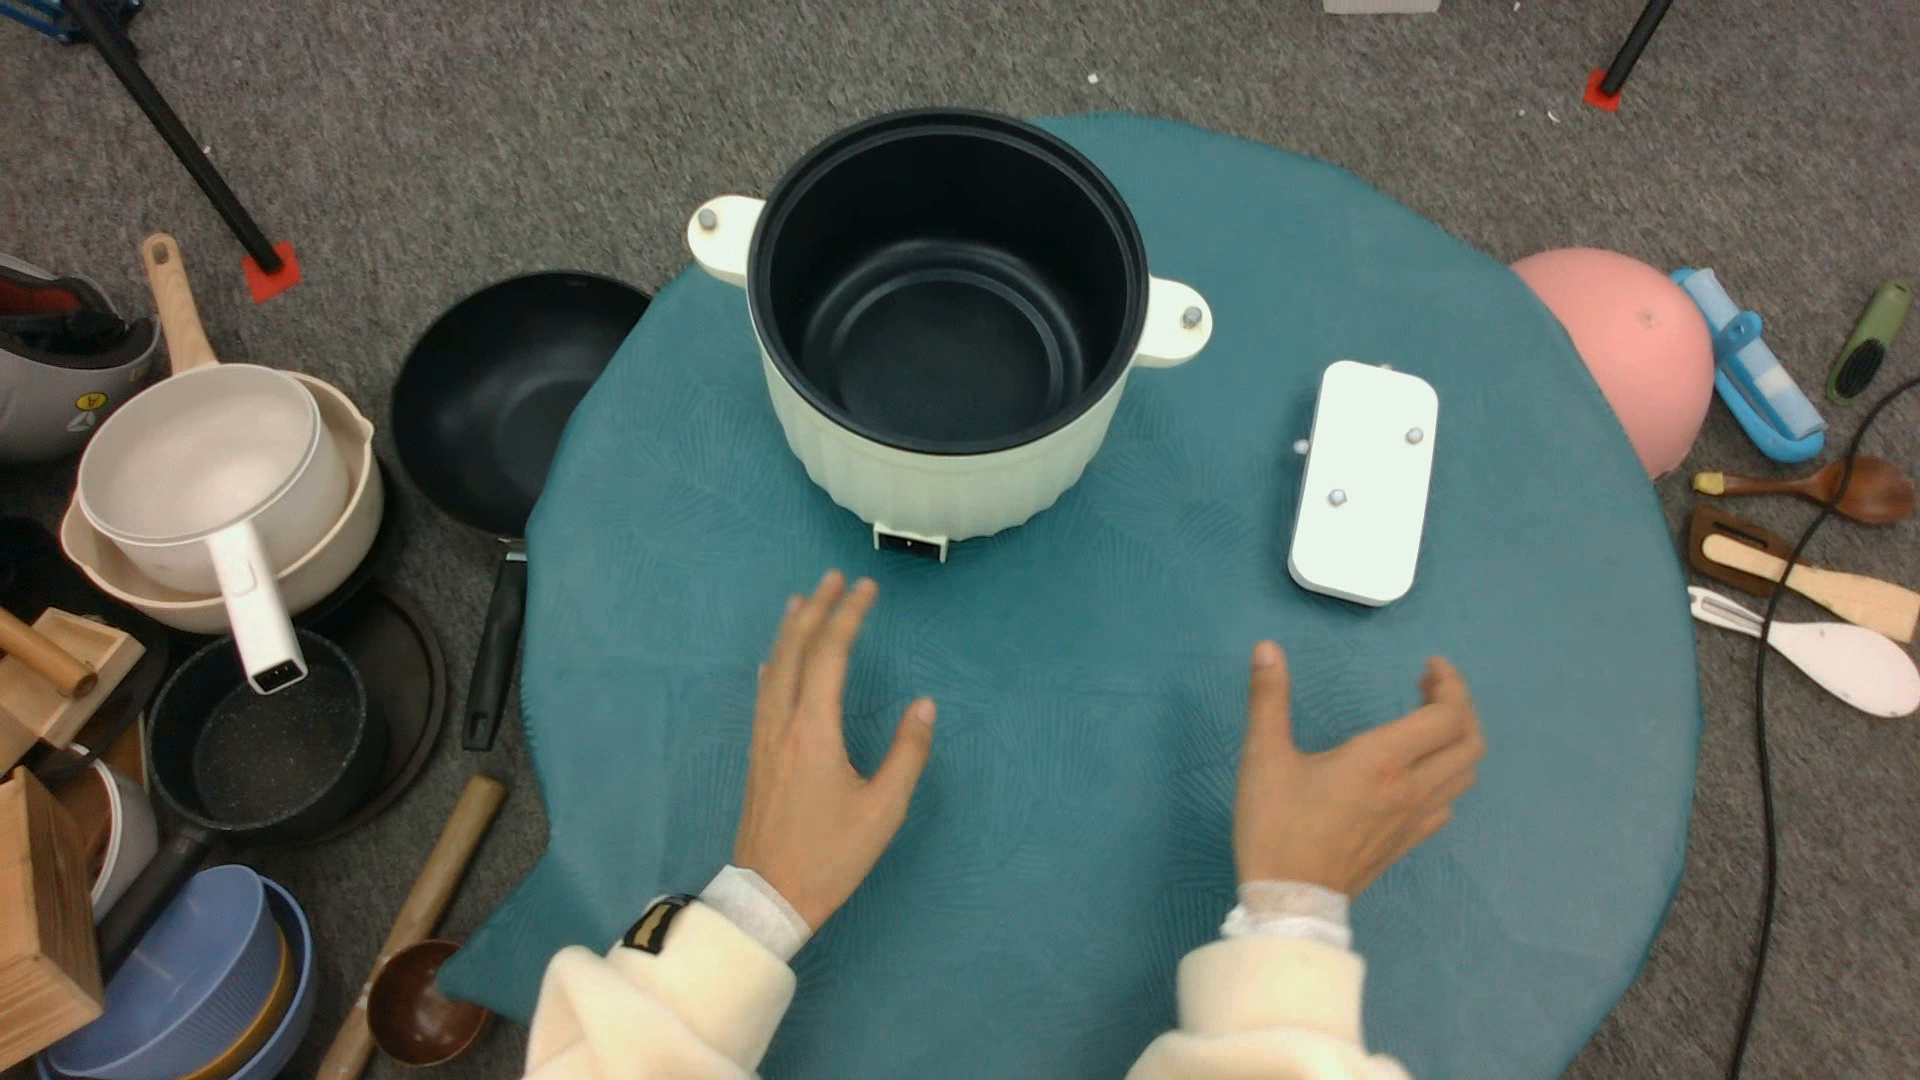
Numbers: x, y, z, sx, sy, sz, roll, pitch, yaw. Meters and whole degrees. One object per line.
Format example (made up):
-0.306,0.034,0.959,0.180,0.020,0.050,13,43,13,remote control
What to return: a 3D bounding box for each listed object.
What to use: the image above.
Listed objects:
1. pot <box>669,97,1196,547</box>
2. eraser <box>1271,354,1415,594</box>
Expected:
-0.016,-0.106,0.680,0.240,0.142,0.191,11,70,0,pot
0.199,-0.037,0.723,0.063,0.034,0.132,14,67,5,eraser
